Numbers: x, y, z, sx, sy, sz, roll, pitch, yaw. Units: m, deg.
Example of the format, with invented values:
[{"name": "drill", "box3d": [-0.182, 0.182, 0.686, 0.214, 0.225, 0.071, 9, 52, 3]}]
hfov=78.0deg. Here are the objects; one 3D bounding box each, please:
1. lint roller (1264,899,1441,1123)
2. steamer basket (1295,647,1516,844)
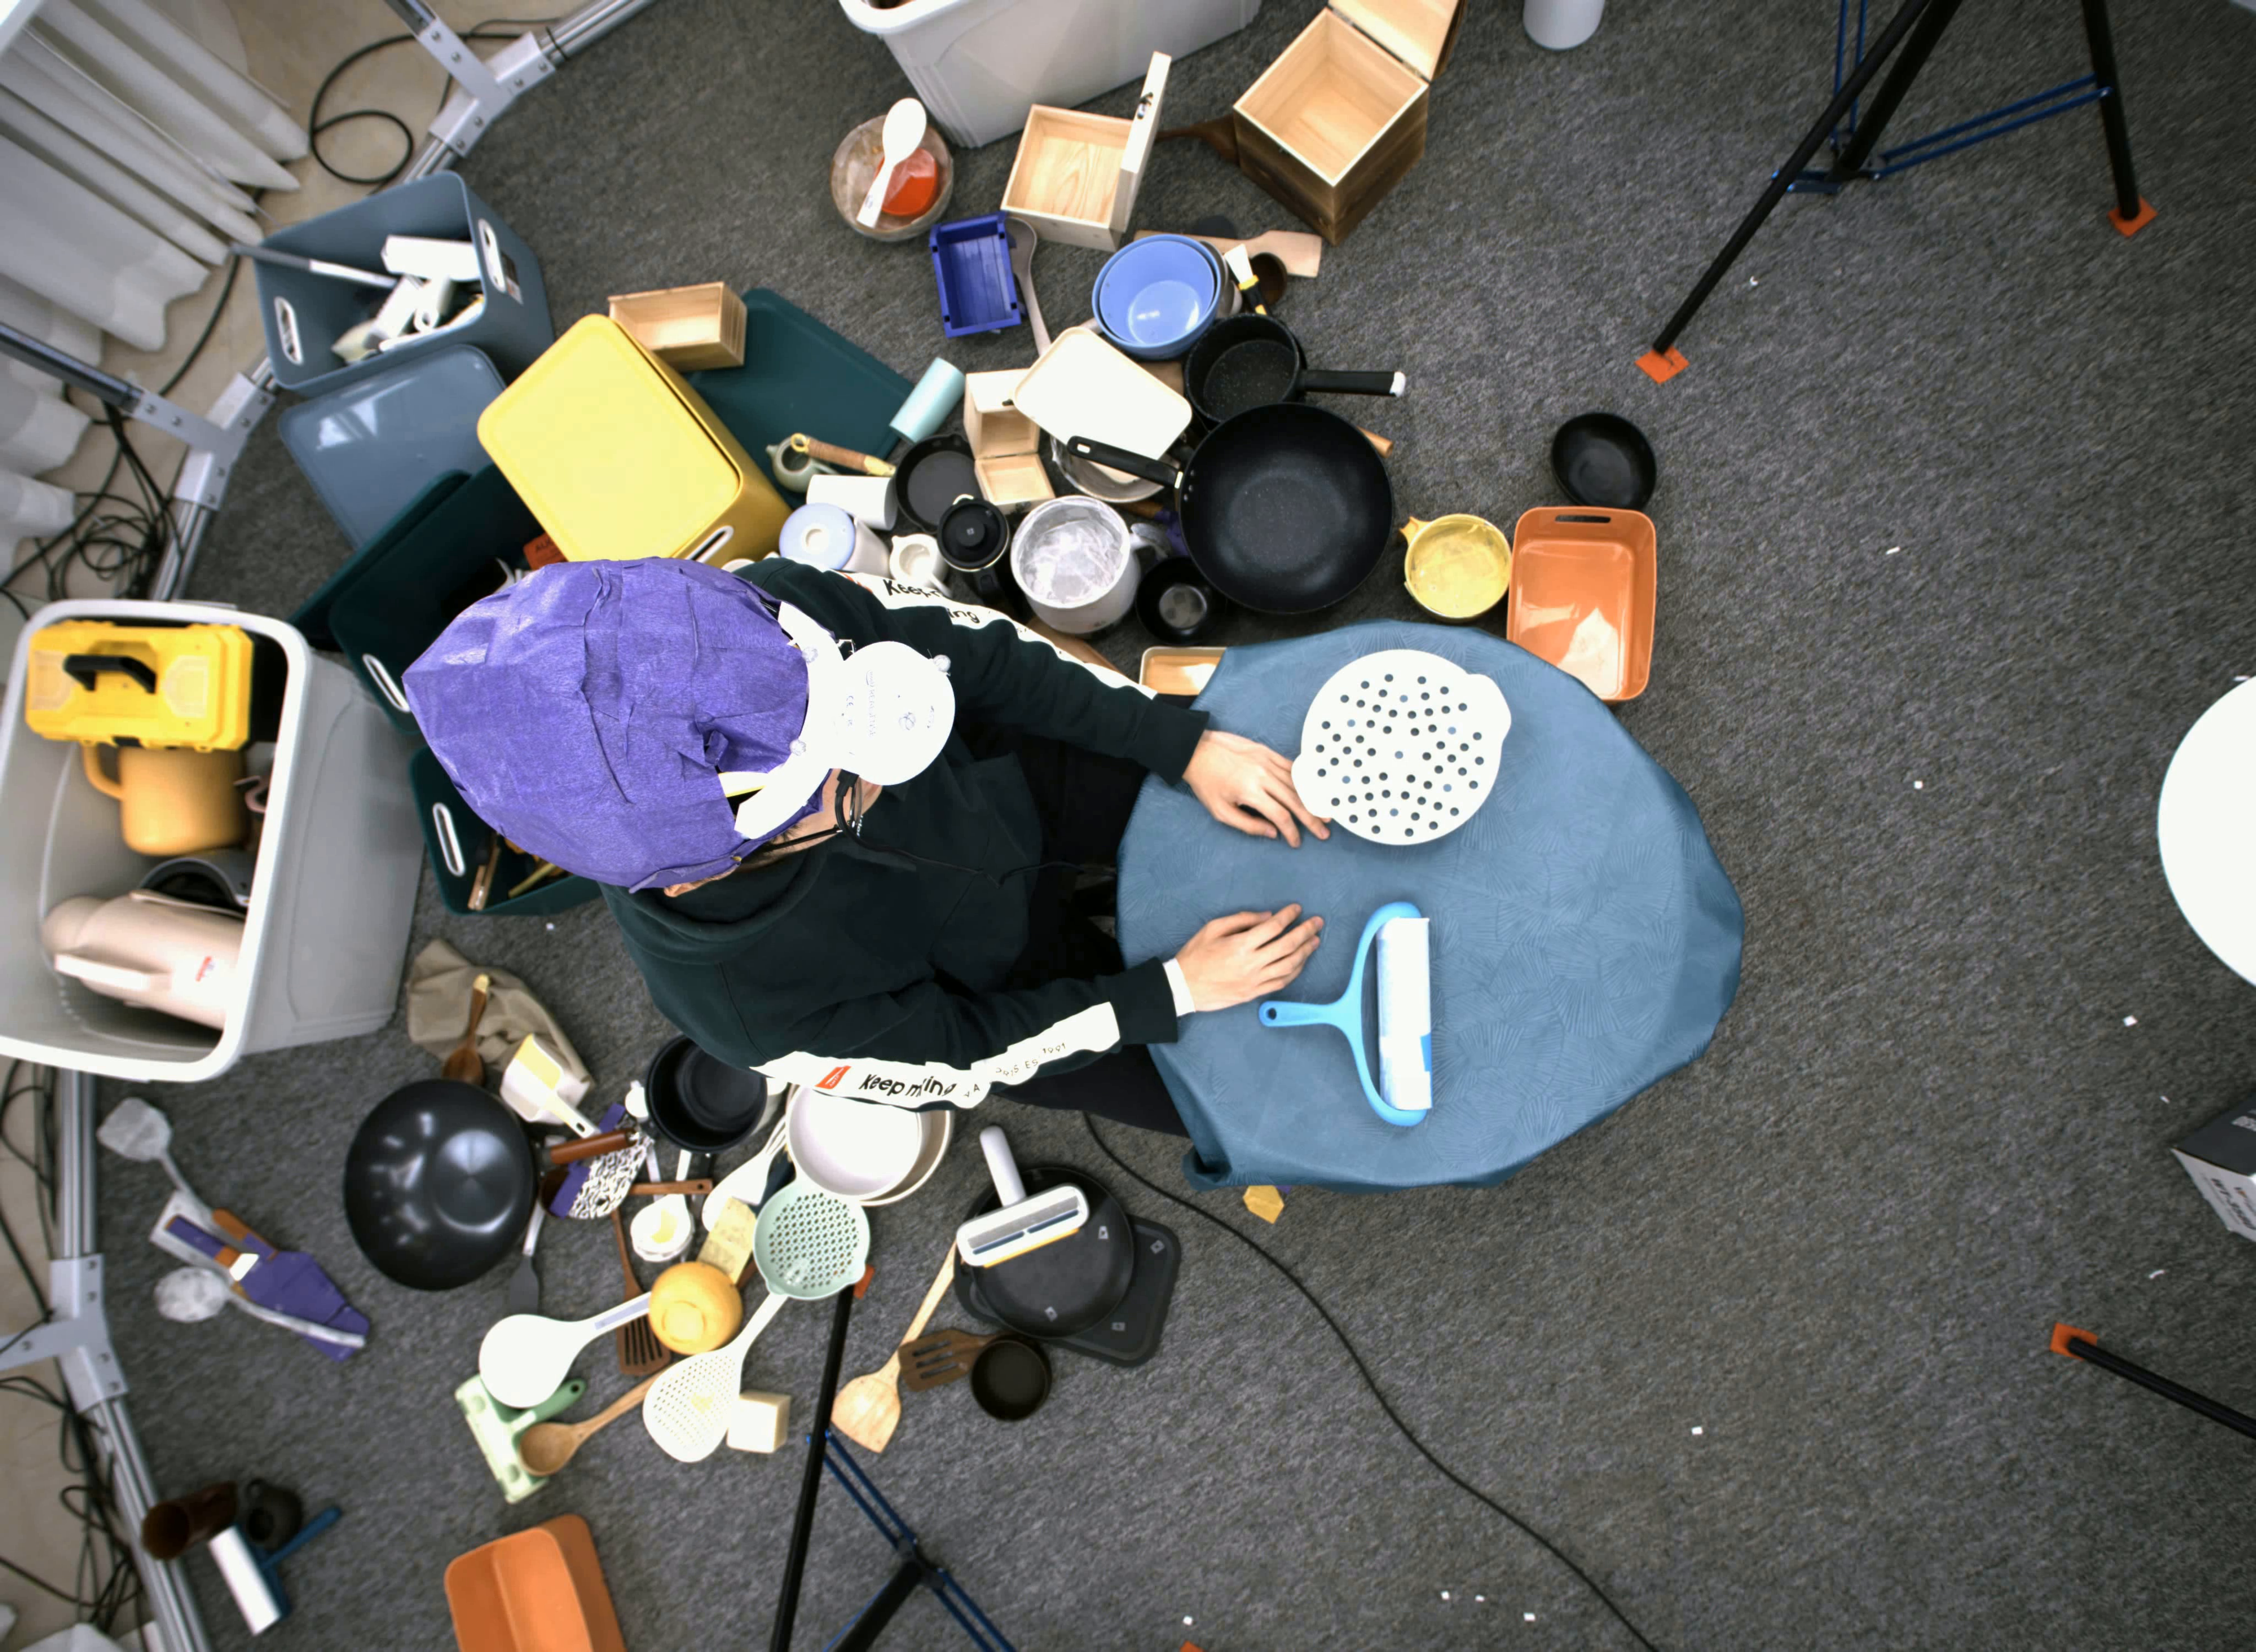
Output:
[{"name": "lint roller", "box3d": [0.230, 0.194, 1.429, 0.181, 0.068, 0.228, -6, 88, 9]}, {"name": "steamer basket", "box3d": [0.287, -0.082, 1.426, 0.232, 0.069, 0.200, -25, 82, 9]}]
